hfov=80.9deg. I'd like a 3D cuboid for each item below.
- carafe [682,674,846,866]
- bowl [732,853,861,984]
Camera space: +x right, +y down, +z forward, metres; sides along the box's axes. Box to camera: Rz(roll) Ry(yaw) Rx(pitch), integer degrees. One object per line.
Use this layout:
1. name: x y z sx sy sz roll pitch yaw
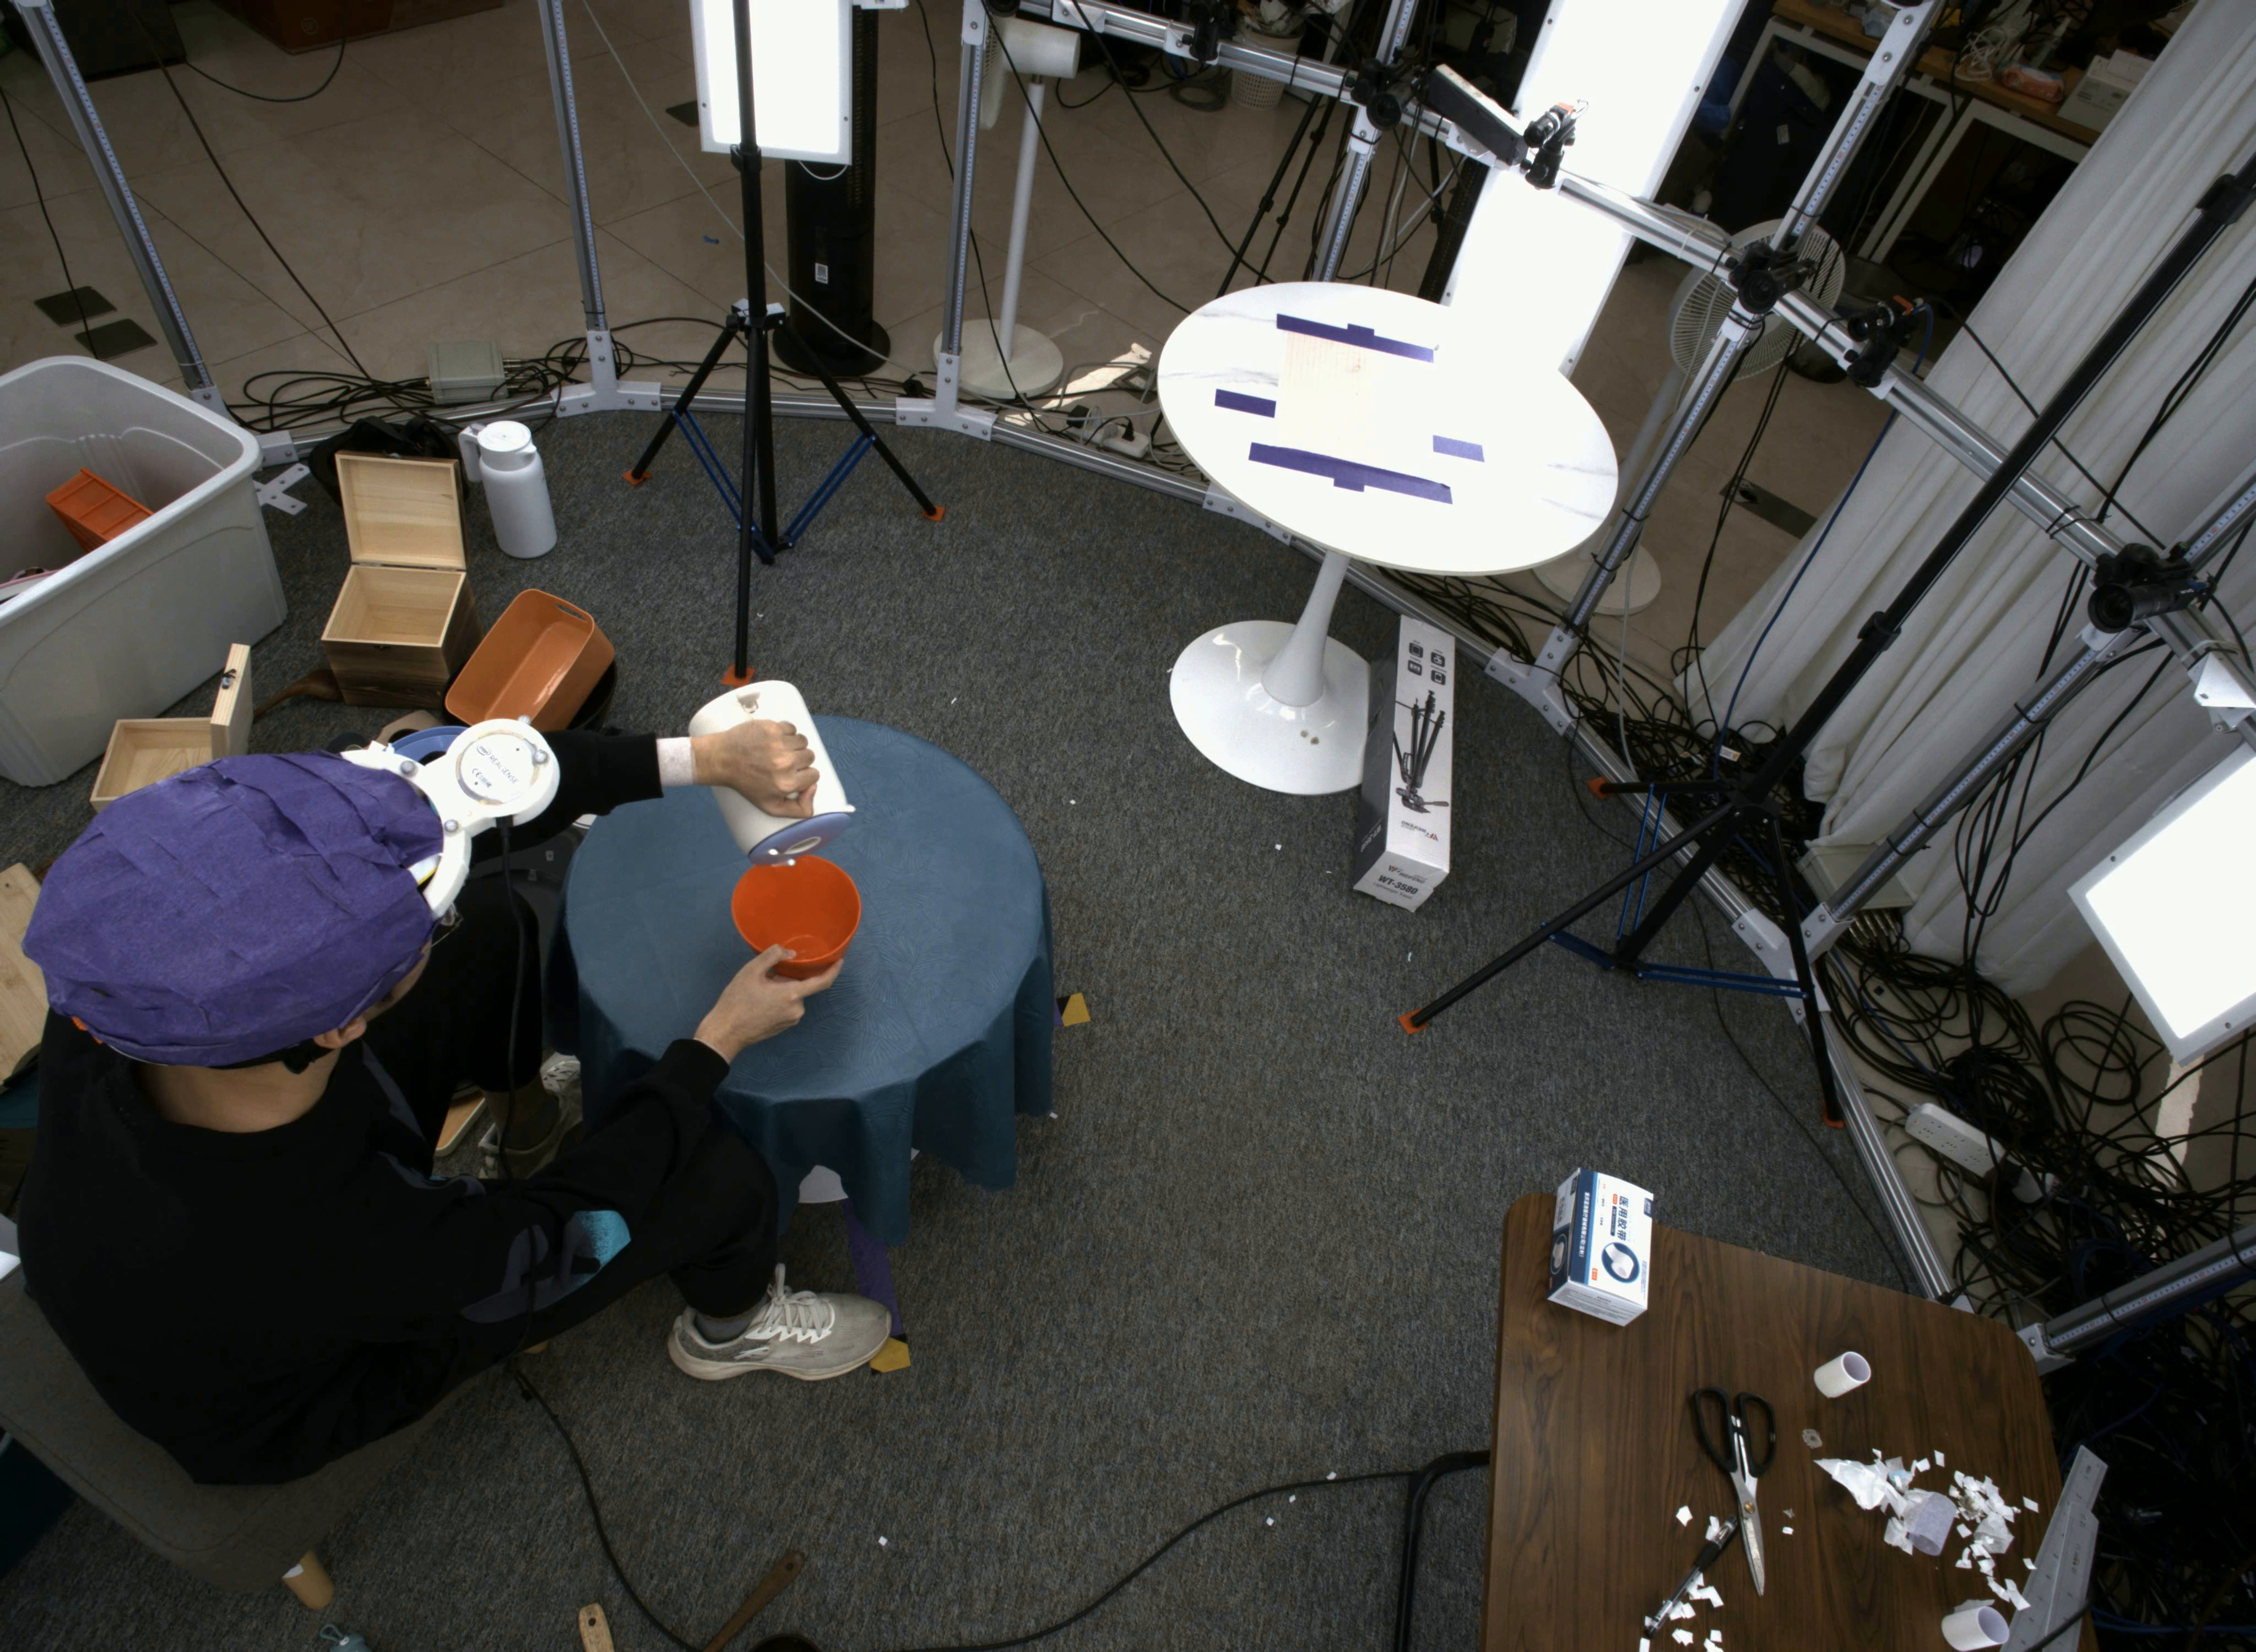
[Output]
1. carafe: -0.395 -0.070 1.404 0.132 0.192 0.181 -25 79 -19
2. bowl: -0.390 0.120 1.543 0.147 0.107 0.145 6 46 -5
